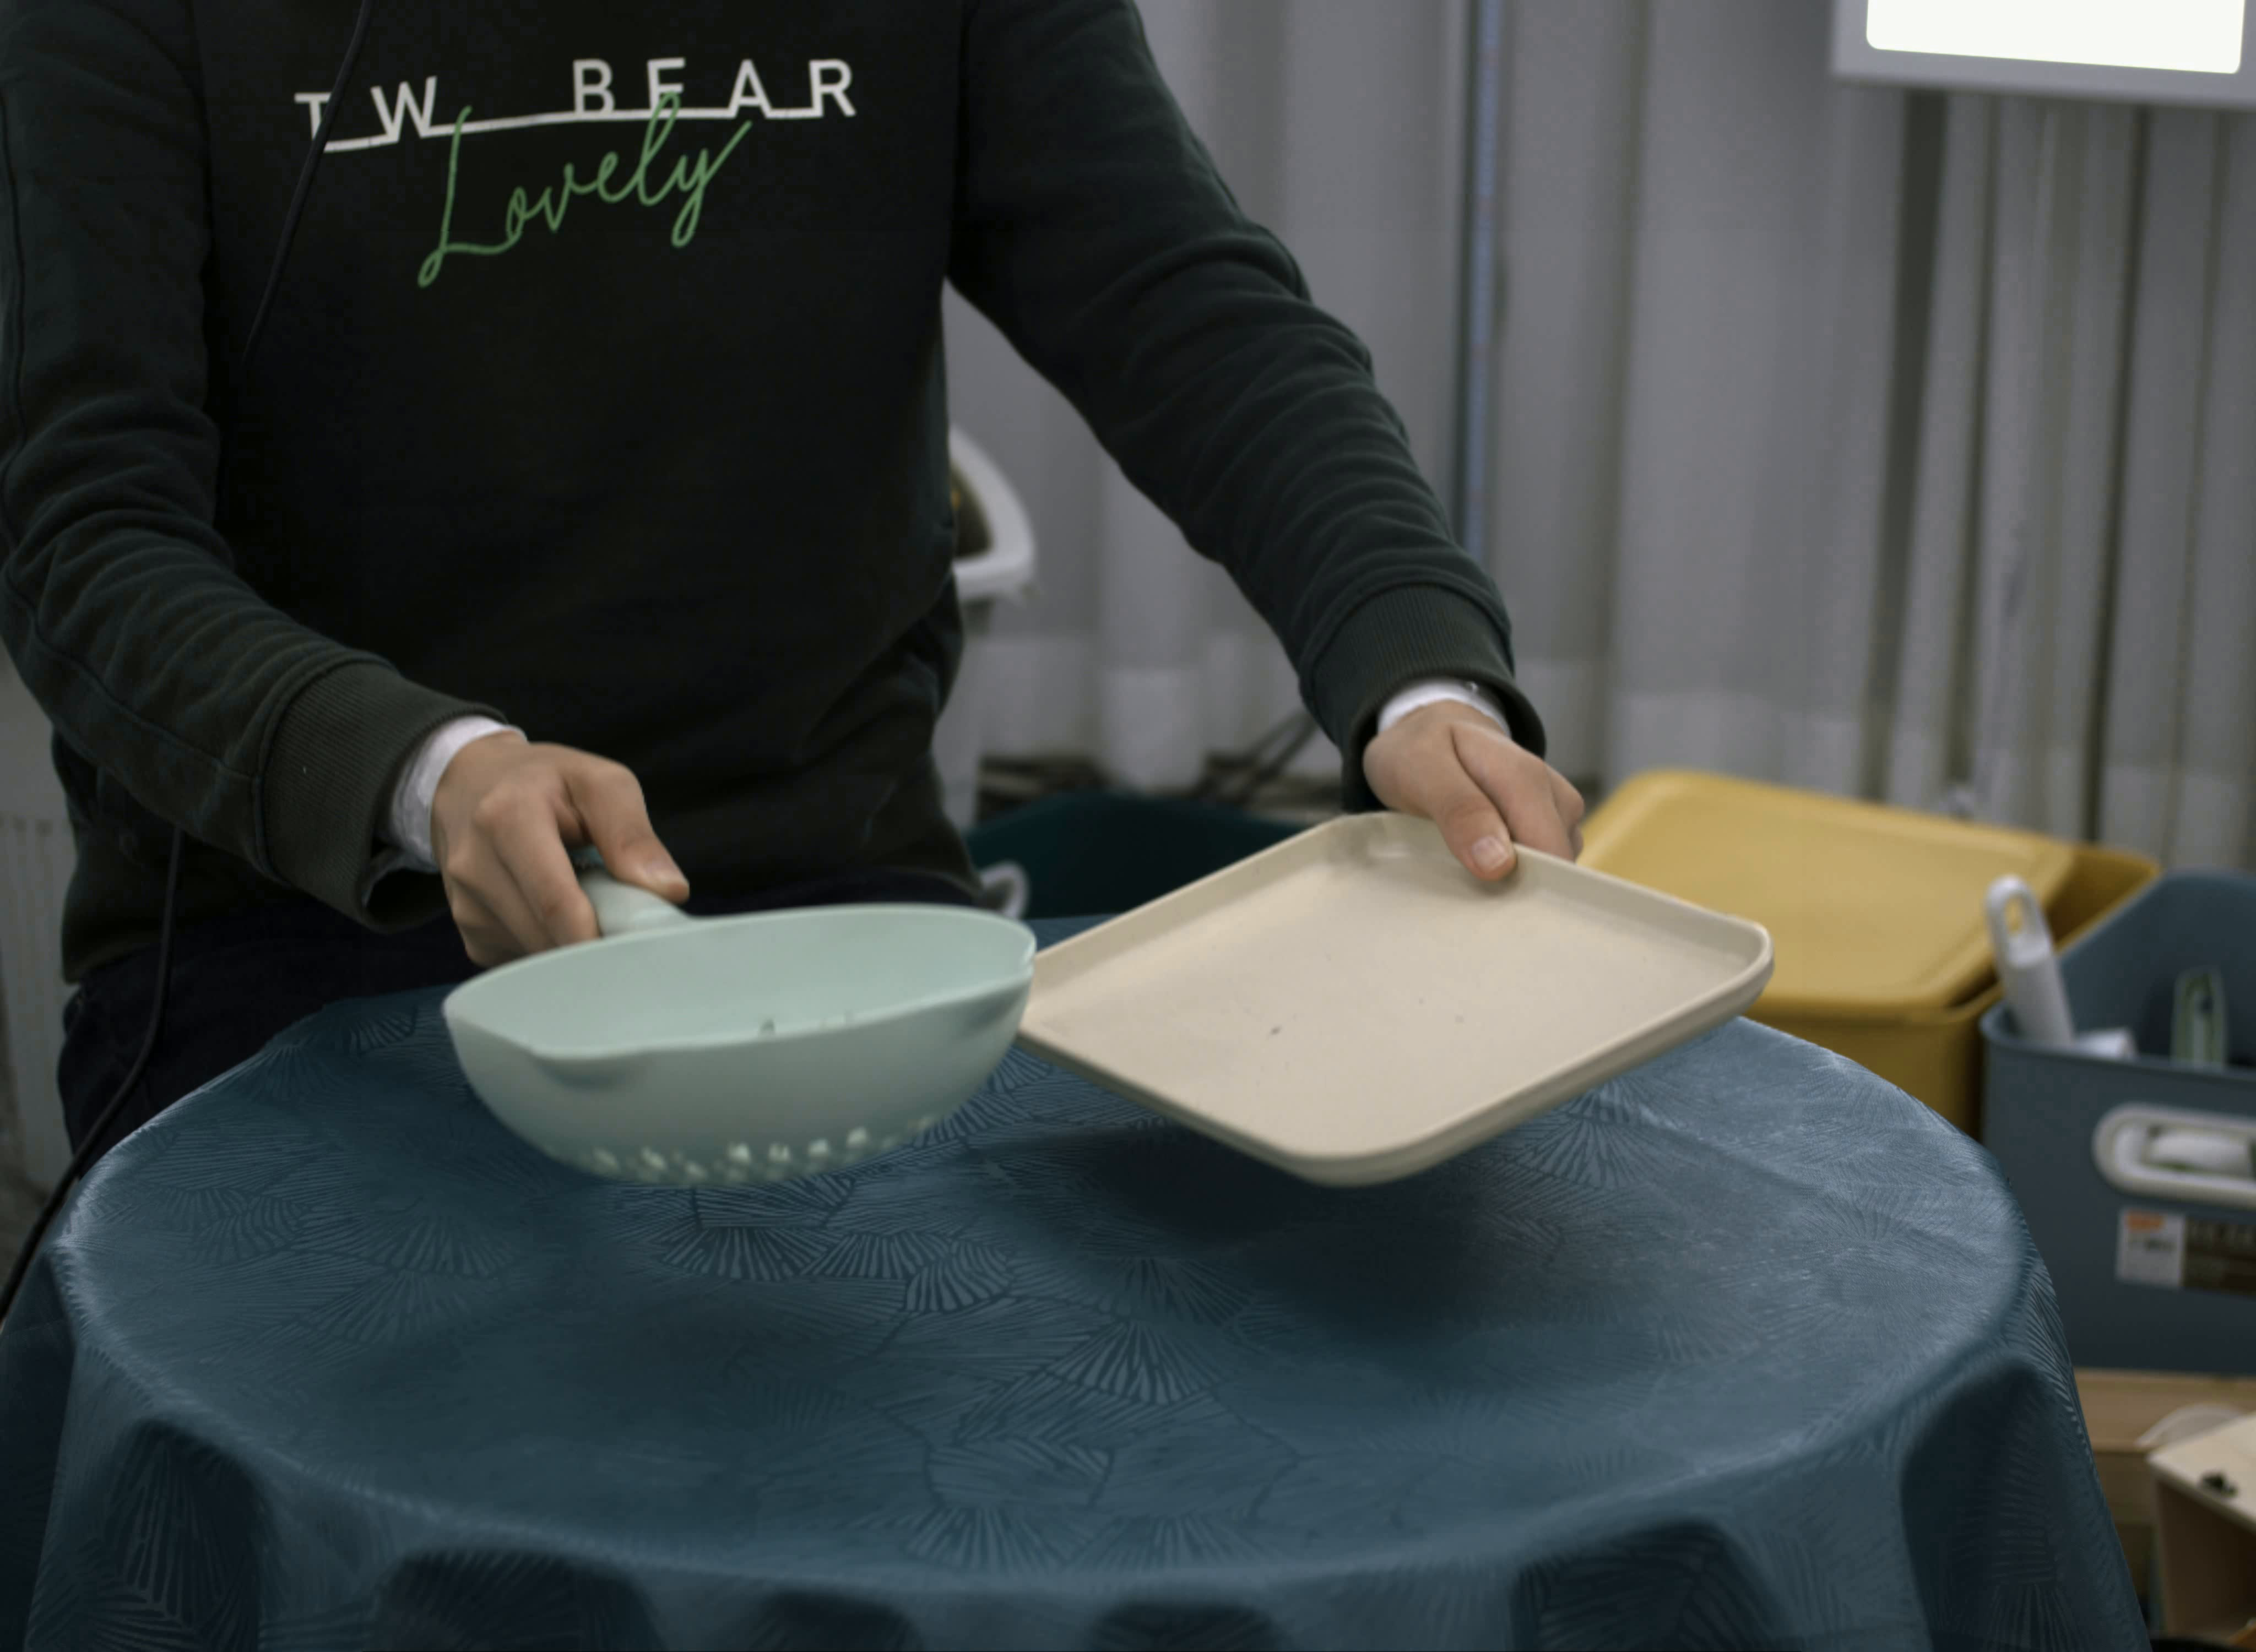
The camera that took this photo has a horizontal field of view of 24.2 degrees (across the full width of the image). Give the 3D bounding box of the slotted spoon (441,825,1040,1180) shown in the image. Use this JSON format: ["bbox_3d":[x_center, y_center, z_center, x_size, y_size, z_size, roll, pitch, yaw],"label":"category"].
[{"bbox_3d":[-0.137,0.036,1.570,0.169,0.076,0.355,-9,19,-16],"label":"slotted spoon"}]

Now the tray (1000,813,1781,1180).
[{"bbox_3d":[0.074,0.050,1.597,0.171,0.017,0.237,-24,22,-25],"label":"tray"}]
